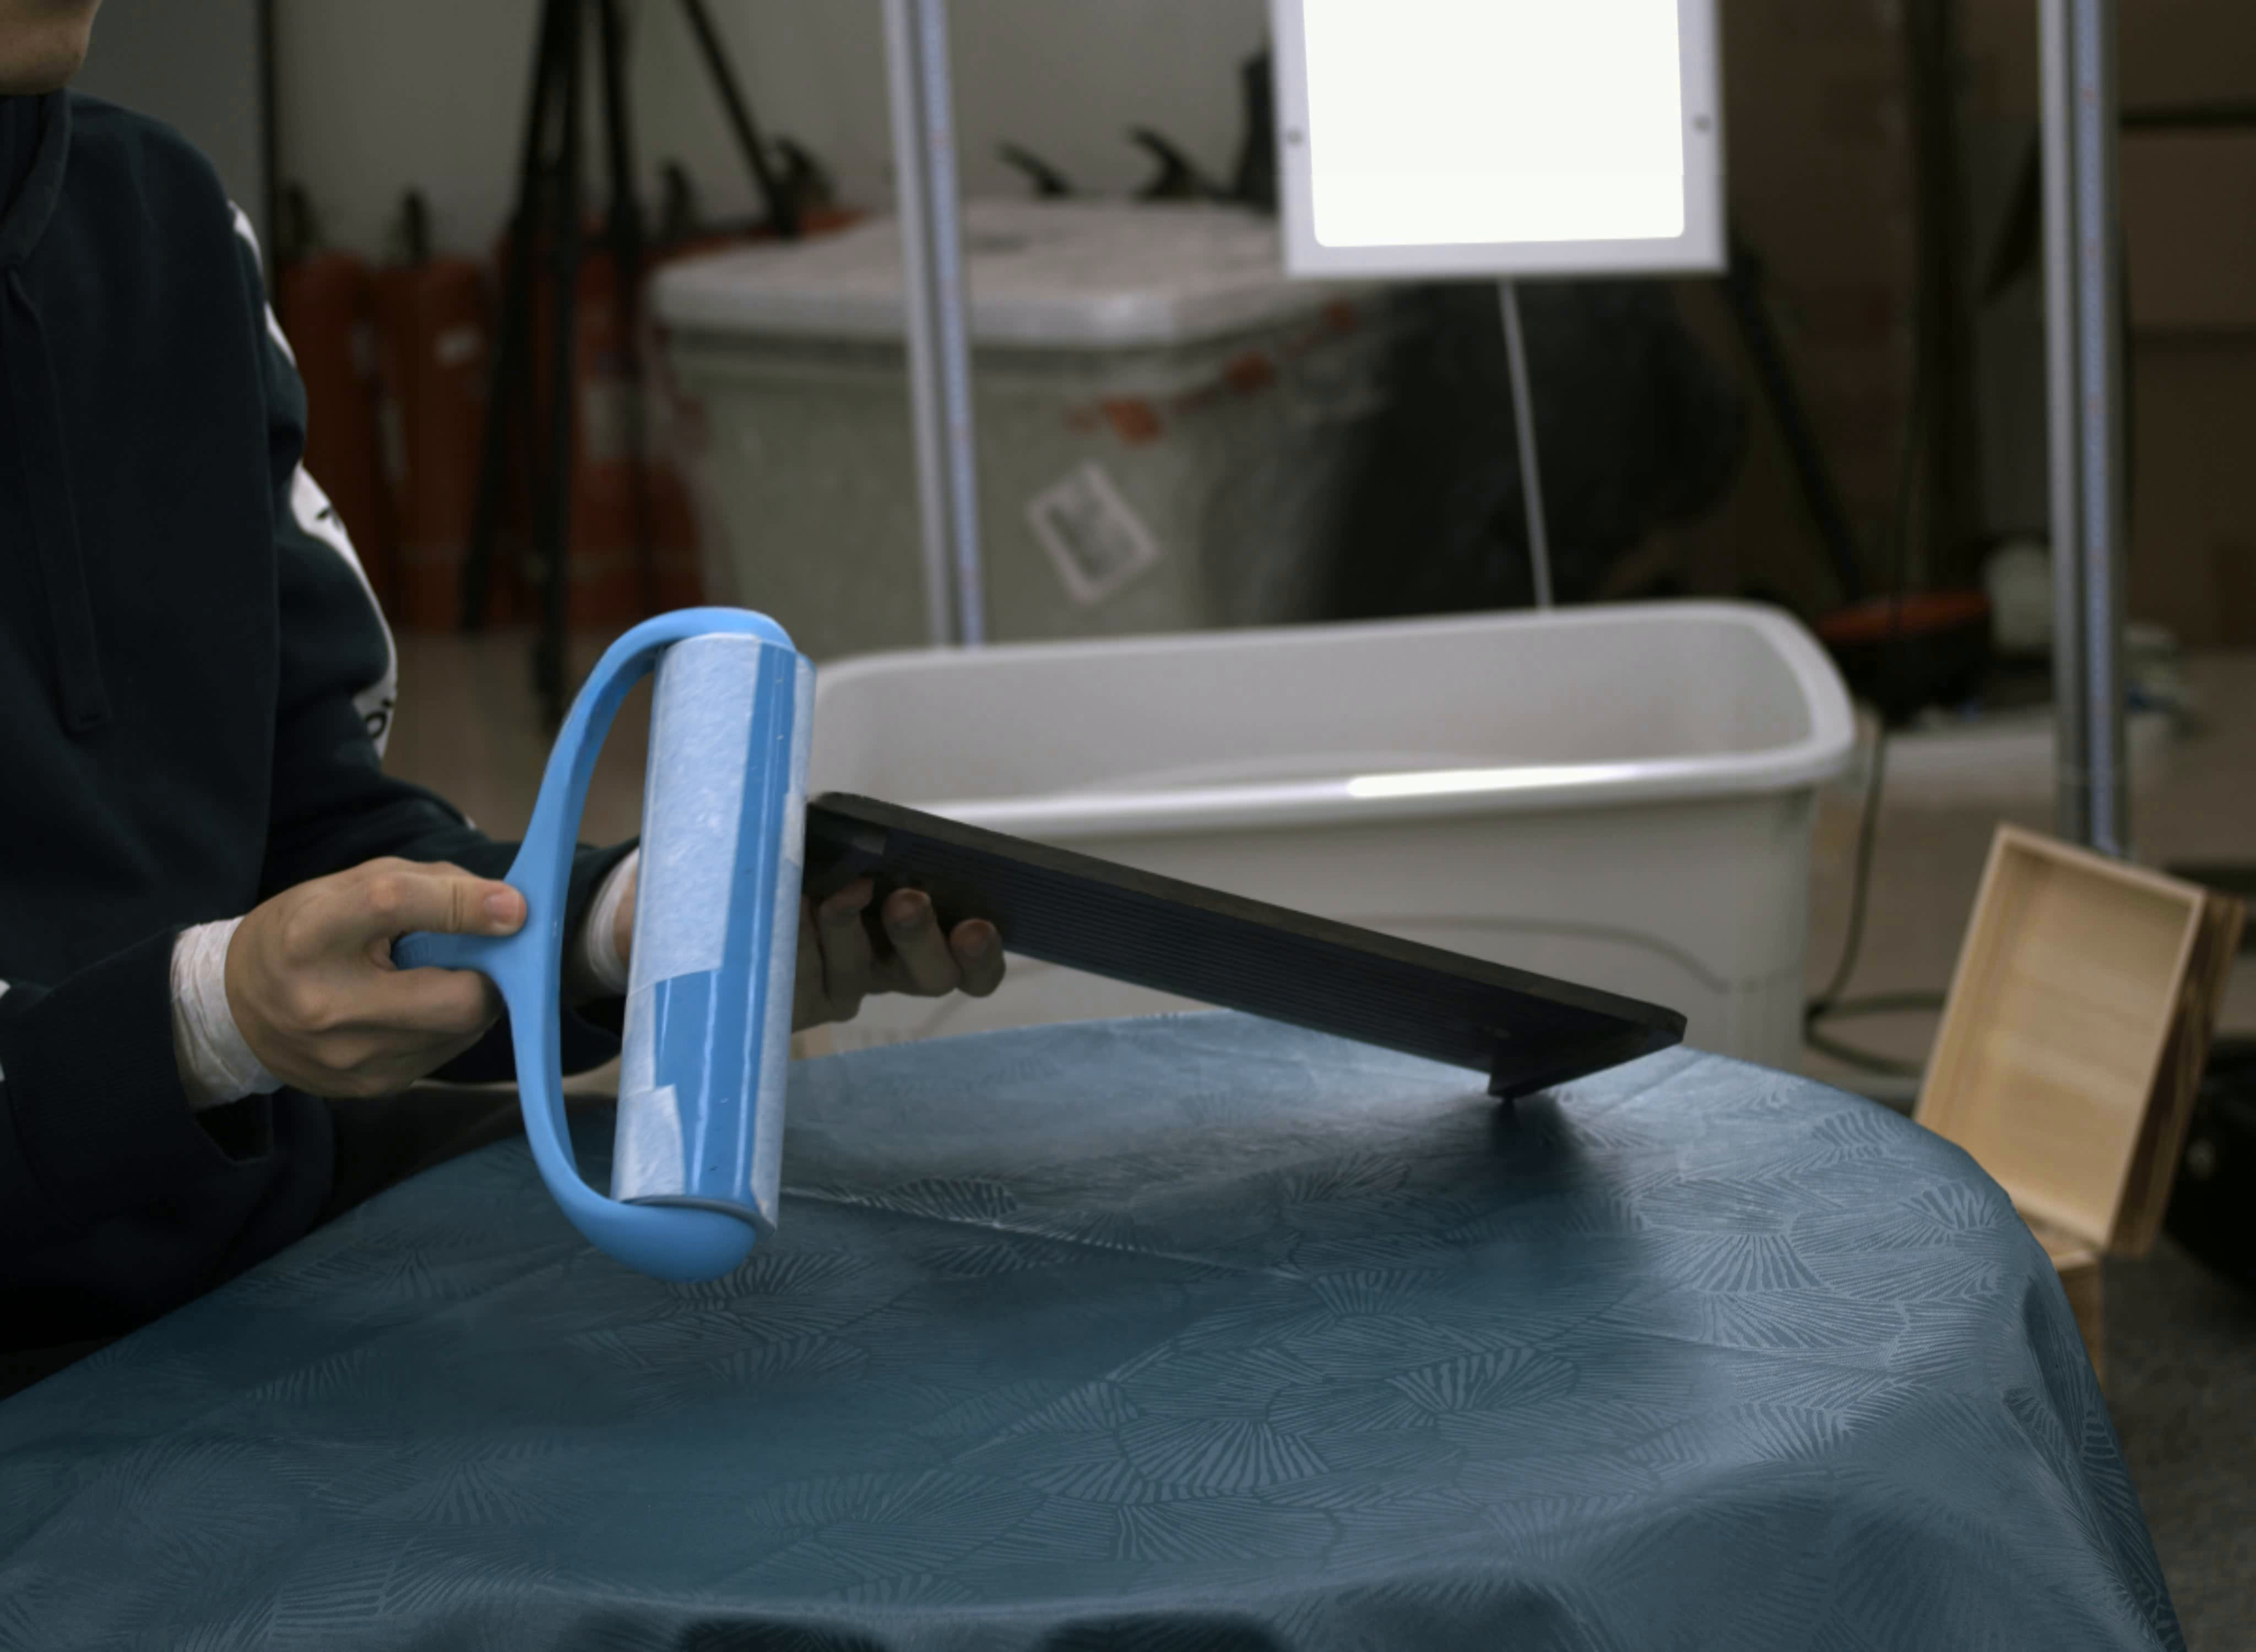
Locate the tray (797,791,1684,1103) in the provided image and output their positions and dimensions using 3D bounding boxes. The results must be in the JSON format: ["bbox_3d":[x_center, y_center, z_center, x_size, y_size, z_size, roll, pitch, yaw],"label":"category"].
[{"bbox_3d":[0.024,0.045,1.872,0.303,0.018,0.172,15,-12,-9],"label":"tray"}]

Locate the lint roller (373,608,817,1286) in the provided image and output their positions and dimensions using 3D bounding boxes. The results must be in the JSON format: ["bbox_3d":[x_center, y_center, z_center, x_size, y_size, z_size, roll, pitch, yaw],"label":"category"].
[{"bbox_3d":[-0.185,0.047,1.798,0.183,0.229,0.067,-11,-24,26],"label":"lint roller"}]
